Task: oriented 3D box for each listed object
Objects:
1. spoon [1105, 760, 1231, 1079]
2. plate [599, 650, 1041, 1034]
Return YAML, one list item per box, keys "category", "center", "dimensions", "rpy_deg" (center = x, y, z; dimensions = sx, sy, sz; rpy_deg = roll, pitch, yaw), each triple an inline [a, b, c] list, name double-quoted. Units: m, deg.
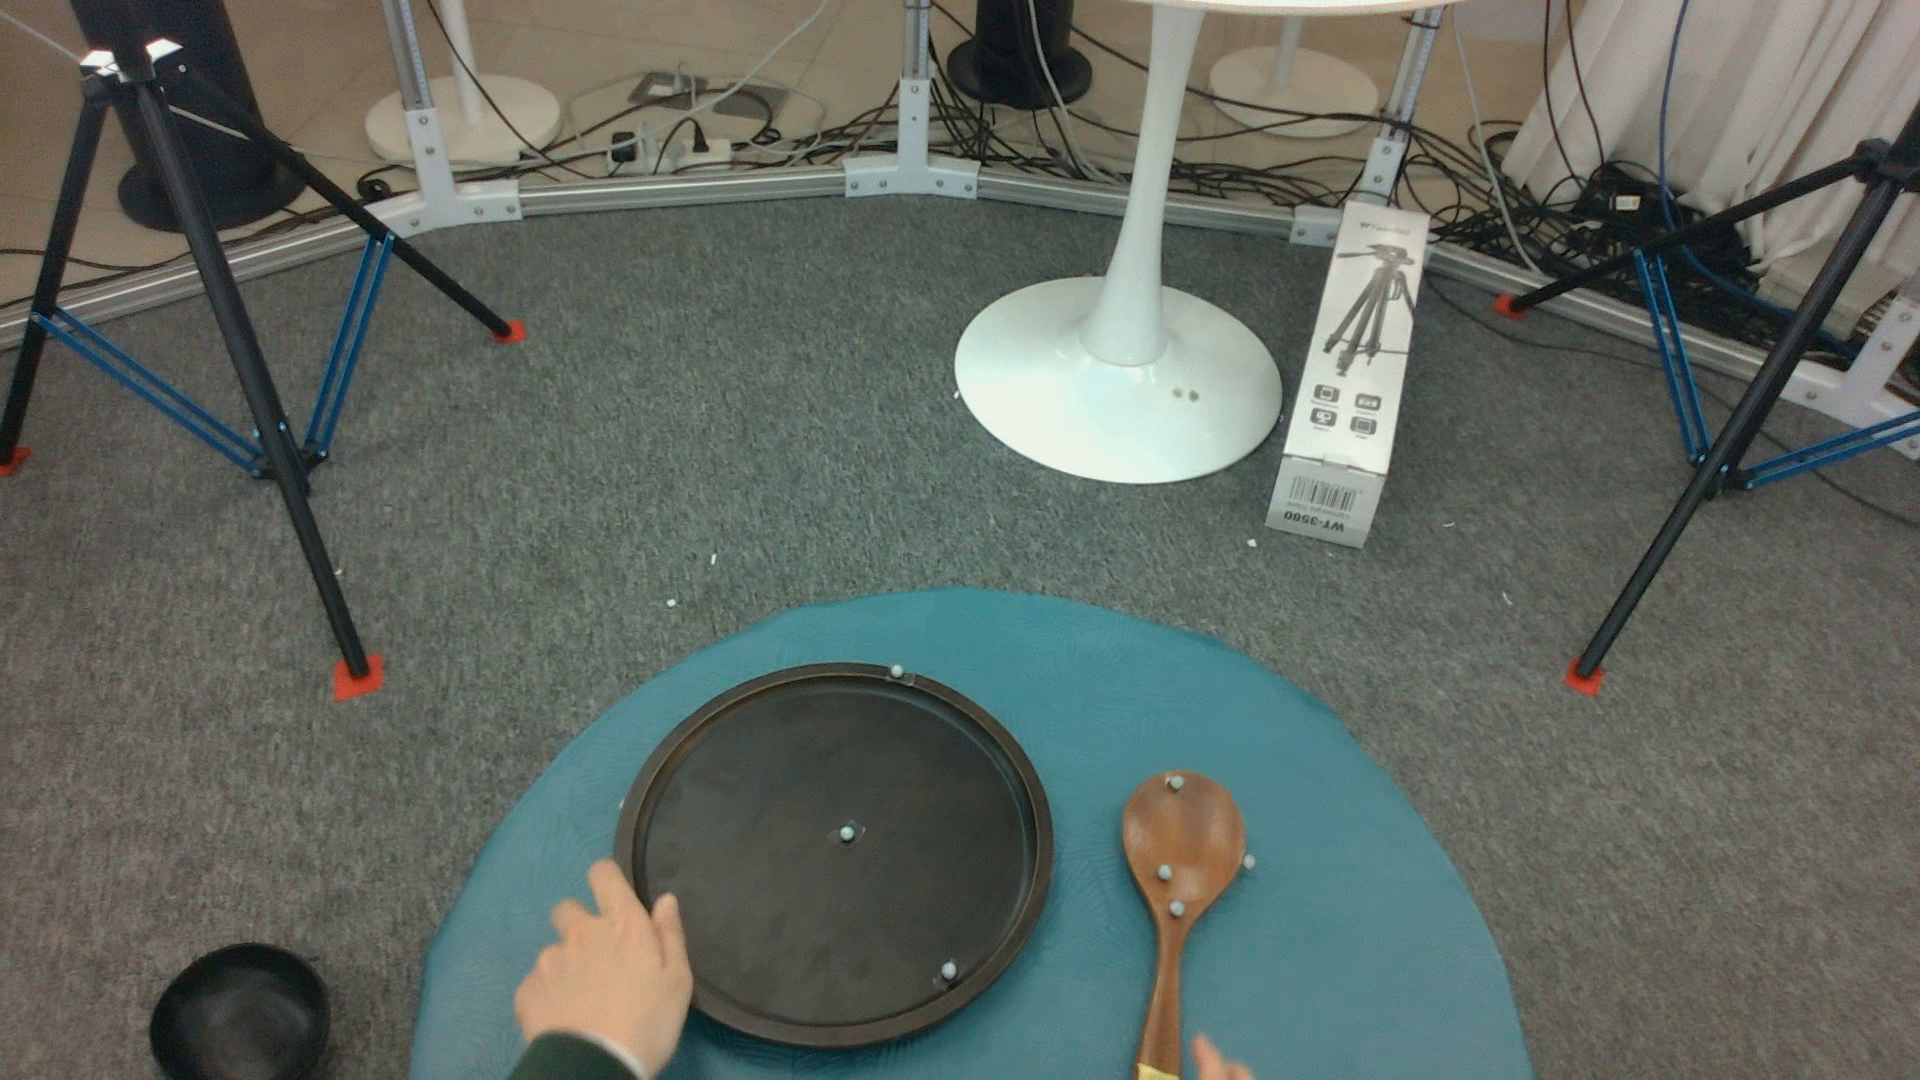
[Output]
- category: "spoon"
  center: [0.112, 0.215, 0.777]
  dimensions: [0.075, 0.017, 0.217]
  rpy_deg: [11, 45, 4]
- category: "plate"
  center: [-0.079, 0.167, 0.801]
  dimensions: [0.255, 0.029, 0.256]
  rpy_deg: [3, 44, -2]
